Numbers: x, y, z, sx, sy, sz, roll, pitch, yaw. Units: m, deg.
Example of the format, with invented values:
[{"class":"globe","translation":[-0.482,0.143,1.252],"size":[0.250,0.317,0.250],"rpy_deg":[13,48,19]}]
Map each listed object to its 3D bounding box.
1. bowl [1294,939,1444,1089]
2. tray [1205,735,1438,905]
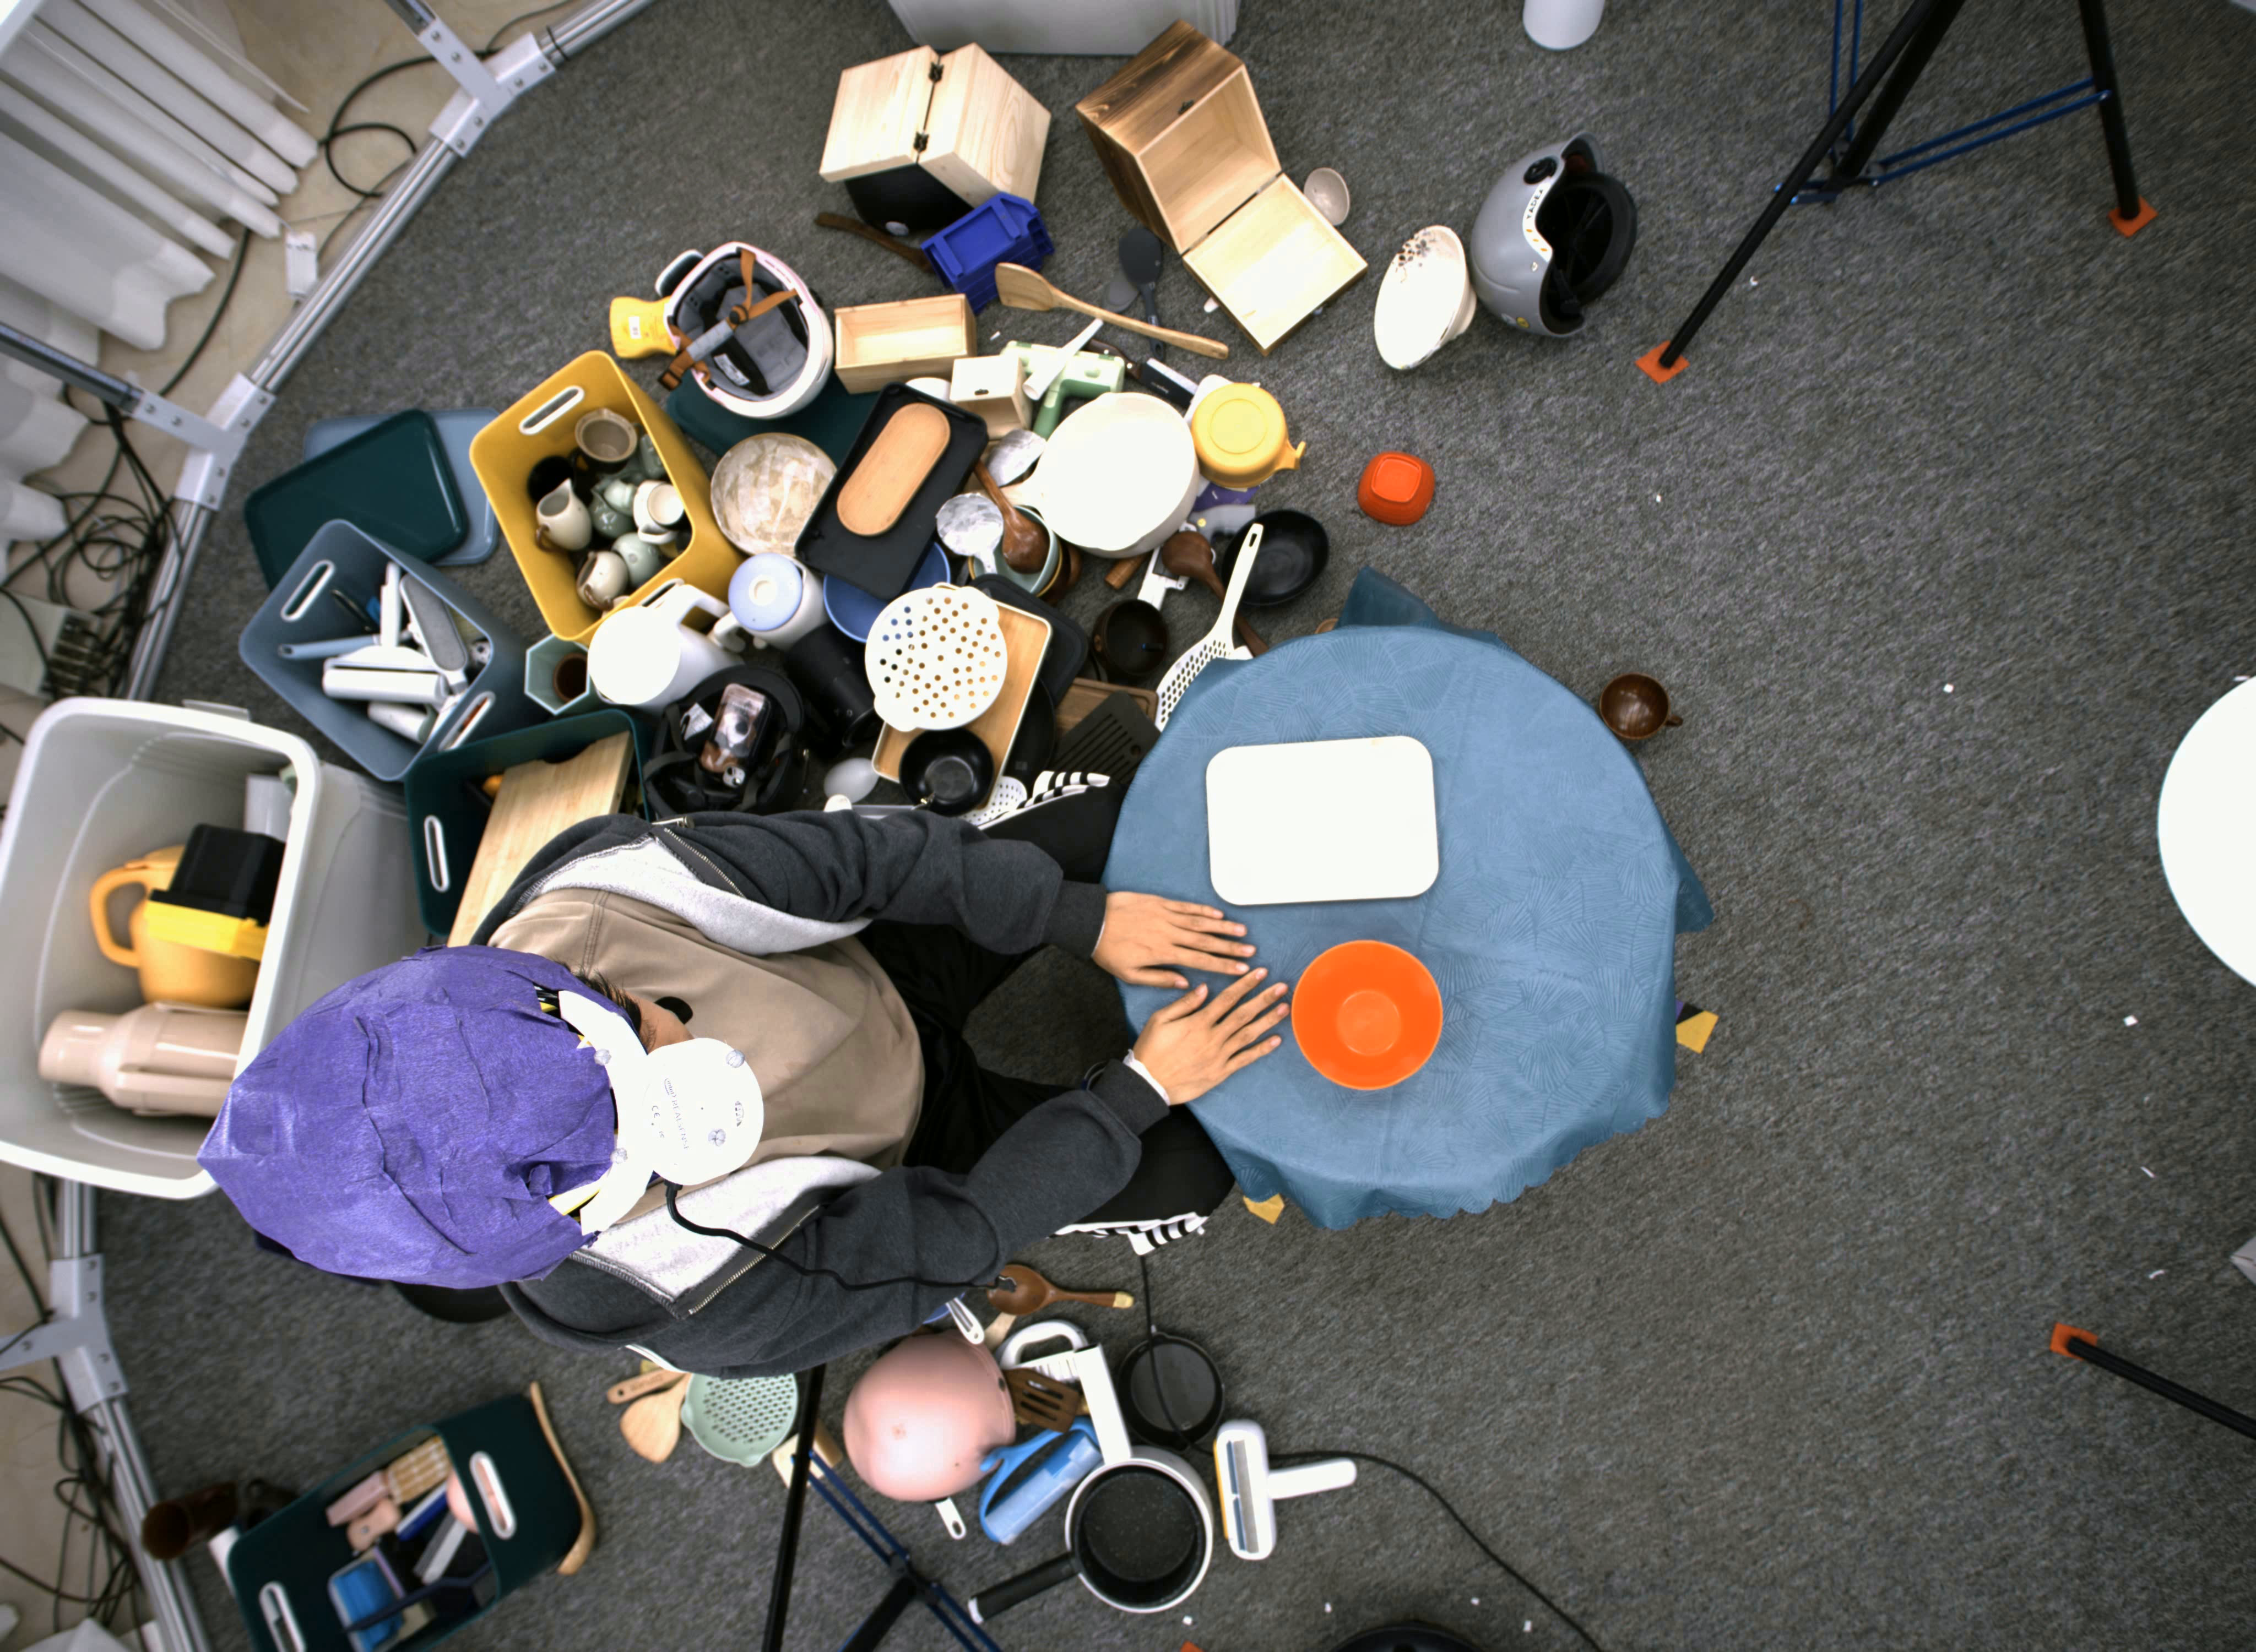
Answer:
[{"class":"bowl","translation":[0.244,0.189,1.407],"size":[0.148,0.105,0.147],"rpy_deg":[-1,85,9]},{"class":"tray","translation":[0.204,-0.006,1.467],"size":[0.241,0.017,0.170],"rpy_deg":[-4,87,10]}]
